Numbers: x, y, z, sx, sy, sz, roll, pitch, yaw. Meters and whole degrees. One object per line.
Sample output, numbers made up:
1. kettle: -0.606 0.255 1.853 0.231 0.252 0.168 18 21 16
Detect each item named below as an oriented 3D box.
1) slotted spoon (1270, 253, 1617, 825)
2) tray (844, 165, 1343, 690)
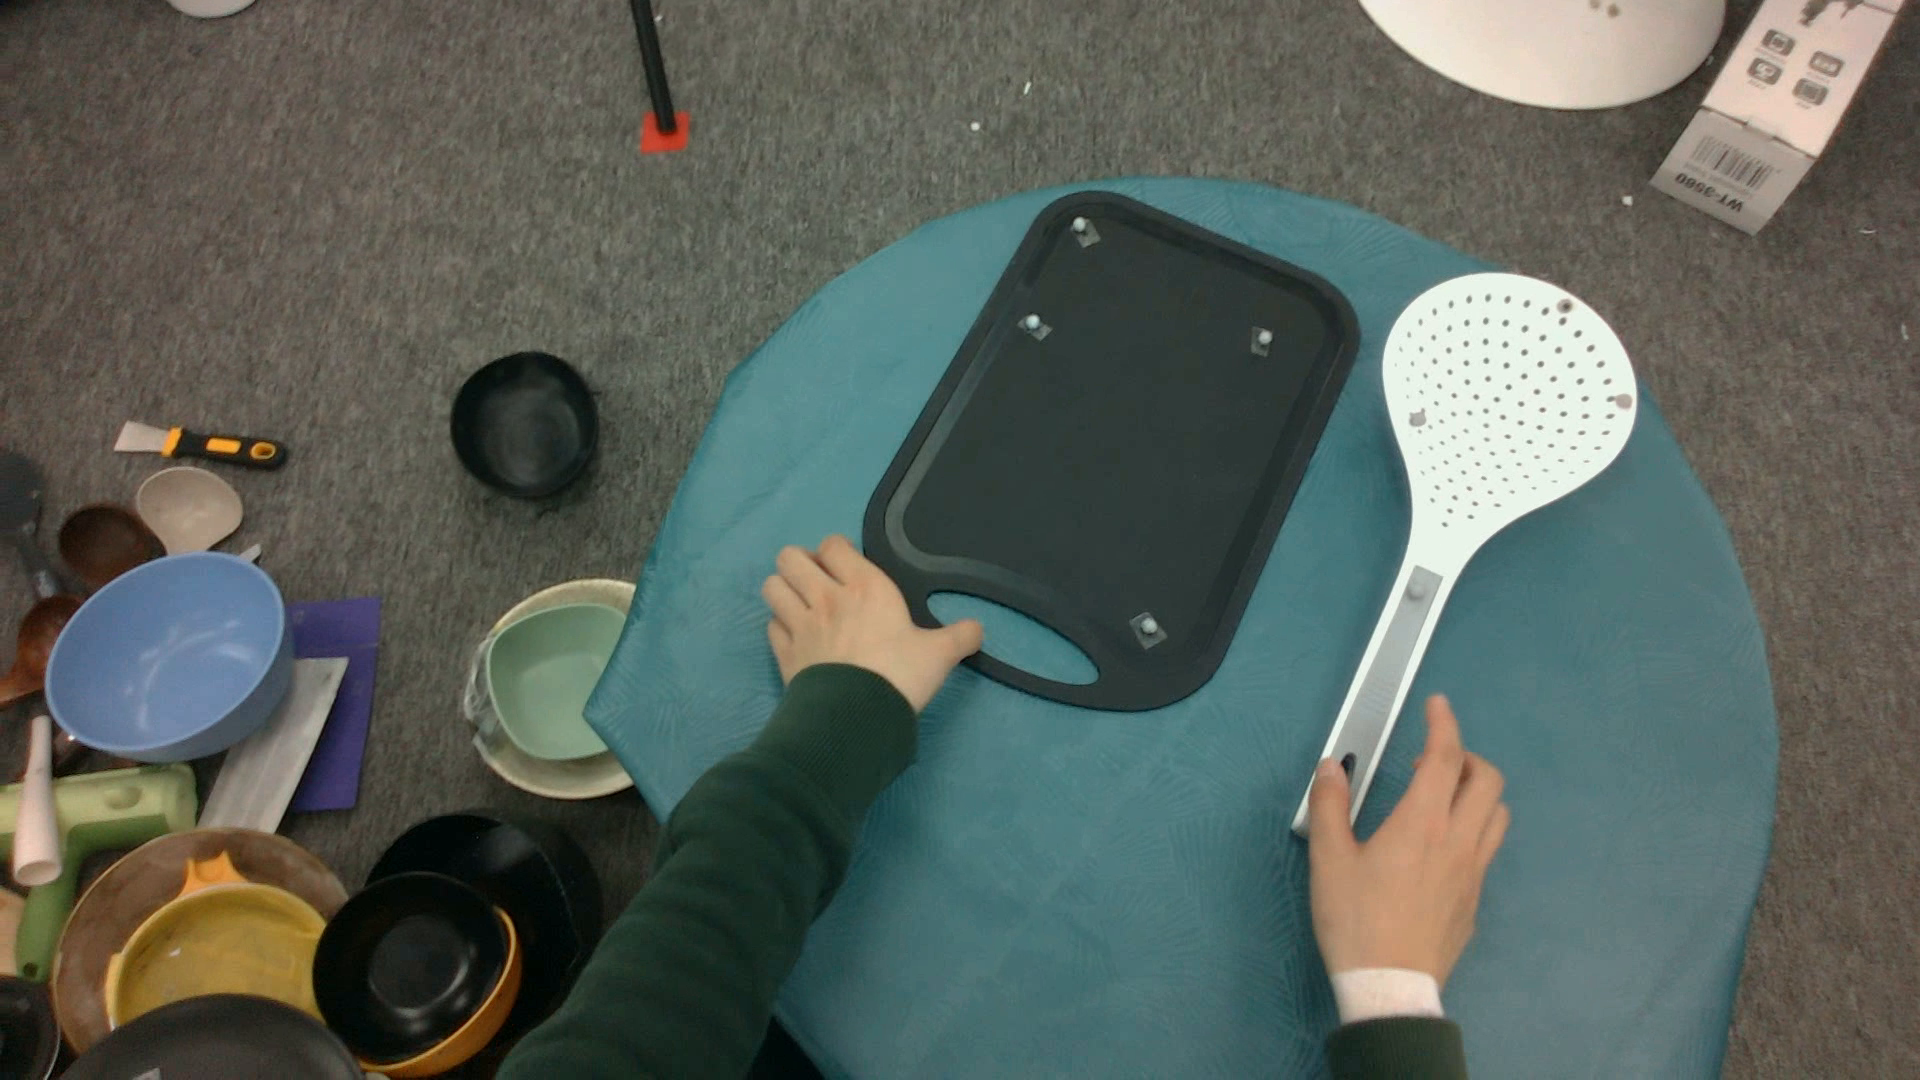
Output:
1. slotted spoon: 0.246 -0.008 0.737 0.136 0.045 0.351 25 67 10
2. tray: 0.079 -0.072 0.776 0.211 0.010 0.326 25 66 8
